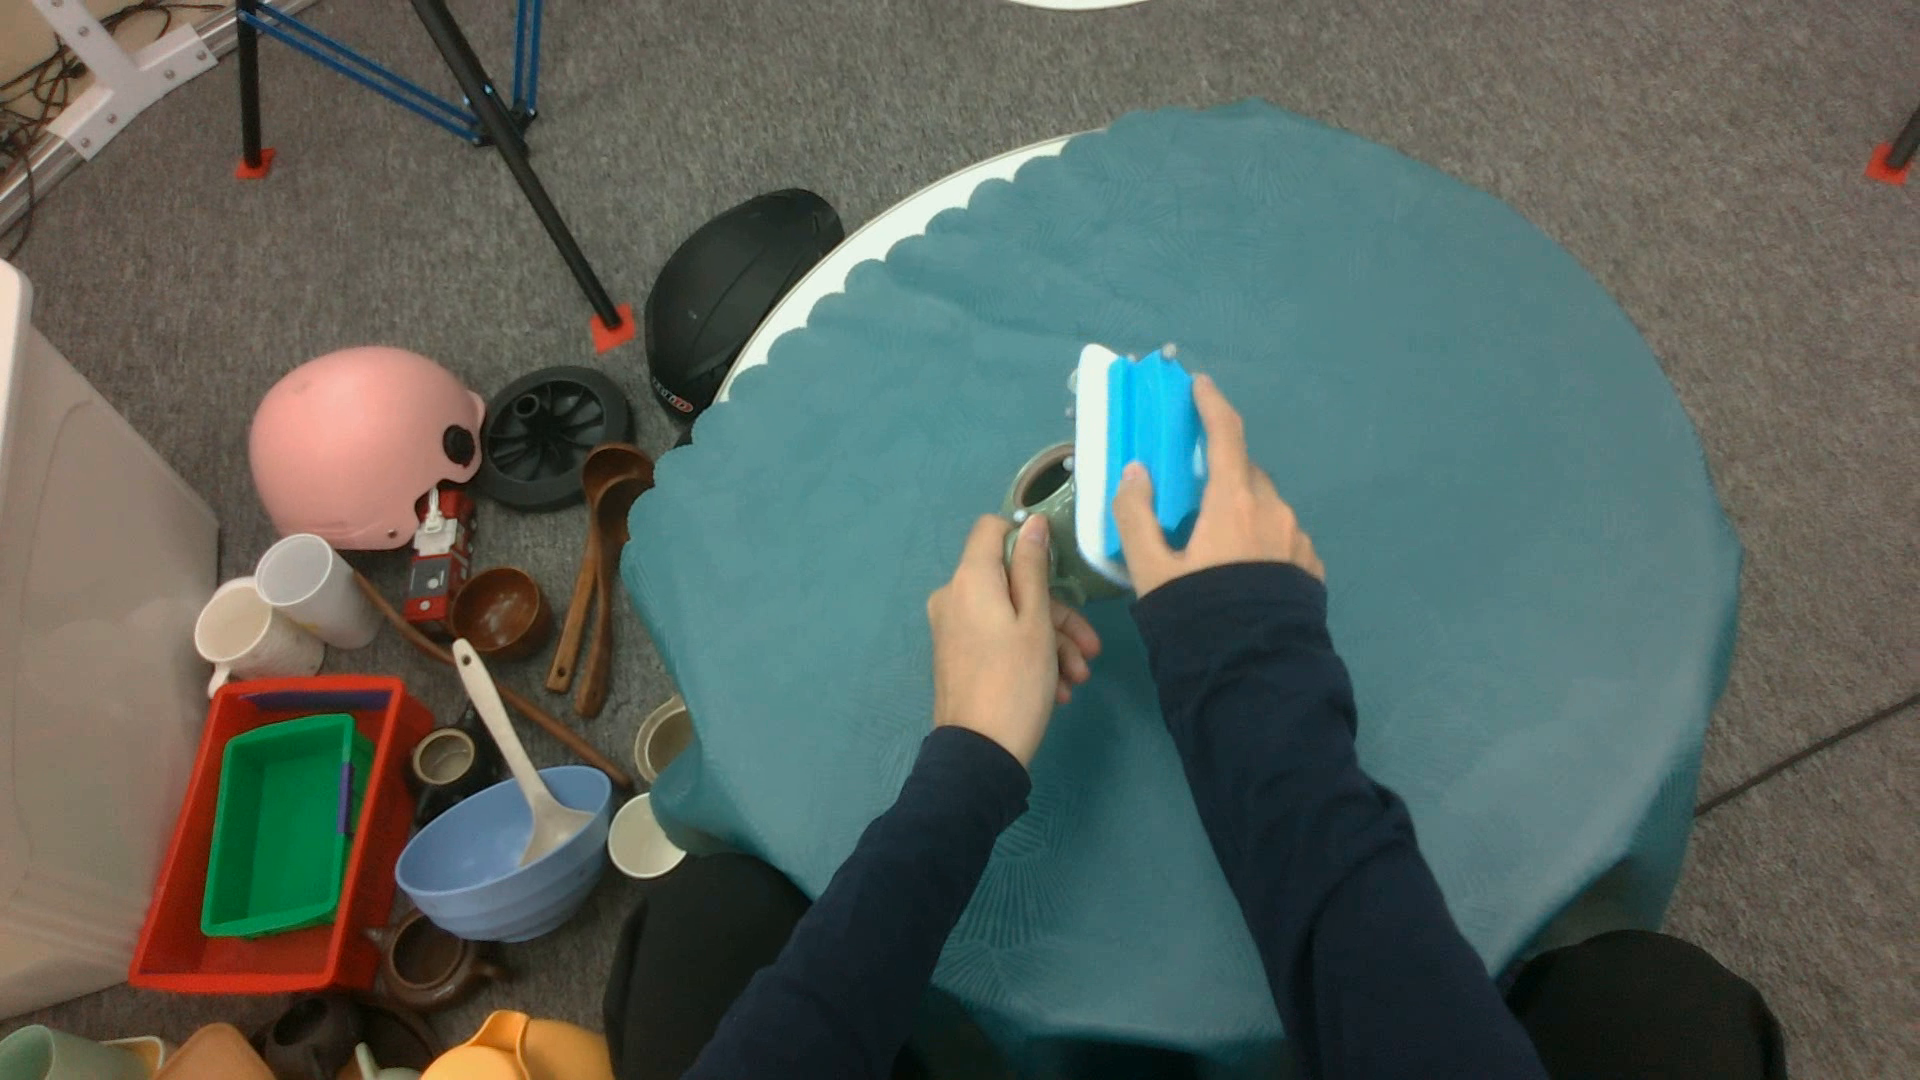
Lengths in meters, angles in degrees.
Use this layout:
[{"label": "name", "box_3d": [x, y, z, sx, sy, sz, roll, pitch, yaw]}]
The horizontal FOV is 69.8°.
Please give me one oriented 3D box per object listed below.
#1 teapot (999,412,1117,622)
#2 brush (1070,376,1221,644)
[{"label": "teapot", "box_3d": [0.069, -0.004, 0.746, 0.079, 0.075, 0.133, -19, 34, 47]}, {"label": "brush", "box_3d": [0.105, -0.023, 0.705, 0.084, 0.055, 0.144, 28, 53, -24]}]
